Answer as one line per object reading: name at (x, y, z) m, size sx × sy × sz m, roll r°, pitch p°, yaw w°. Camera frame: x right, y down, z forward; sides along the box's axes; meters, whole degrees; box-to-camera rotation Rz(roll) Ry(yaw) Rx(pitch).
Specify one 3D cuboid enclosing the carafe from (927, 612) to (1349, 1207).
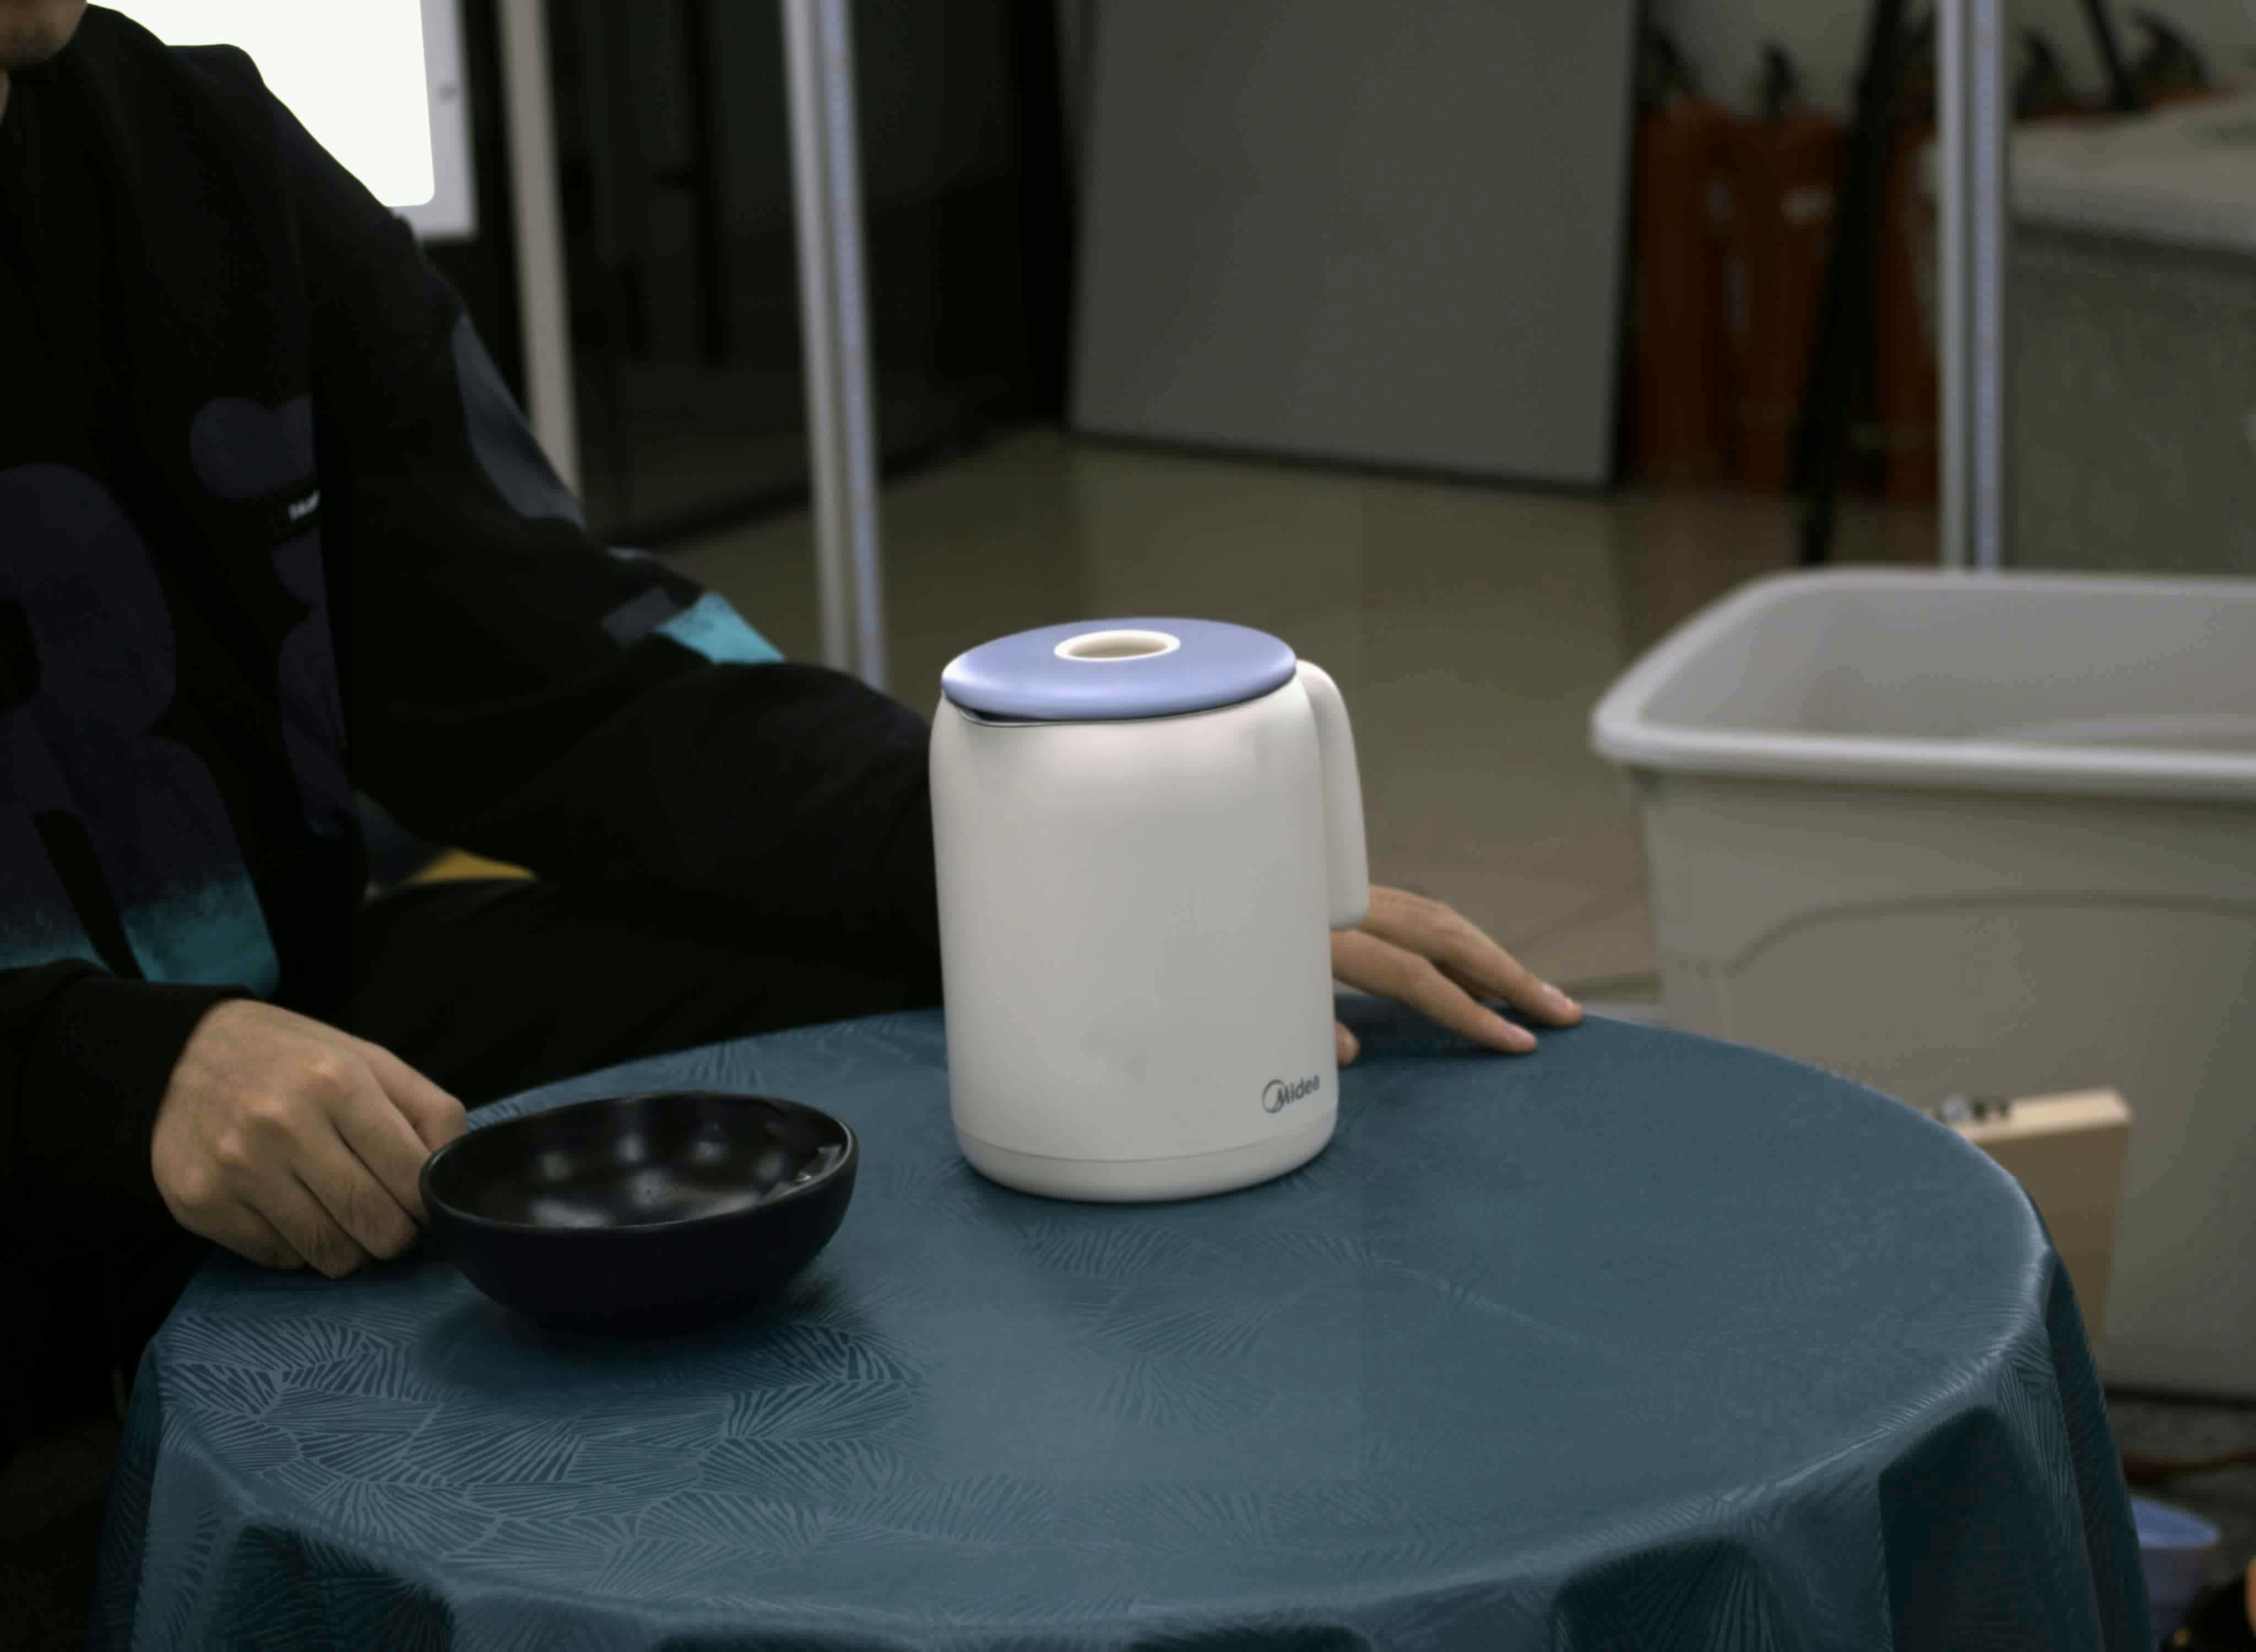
carafe at (0.016, 0.022, 1.811) m, size 0.133 × 0.184 × 0.187 m, roll 9°, pitch 16°, yaw 39°

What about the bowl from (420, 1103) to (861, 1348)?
bowl at (-0.149, 0.128, 1.687) m, size 0.138 × 0.050 × 0.140 m, roll -5°, pitch 12°, yaw 0°
